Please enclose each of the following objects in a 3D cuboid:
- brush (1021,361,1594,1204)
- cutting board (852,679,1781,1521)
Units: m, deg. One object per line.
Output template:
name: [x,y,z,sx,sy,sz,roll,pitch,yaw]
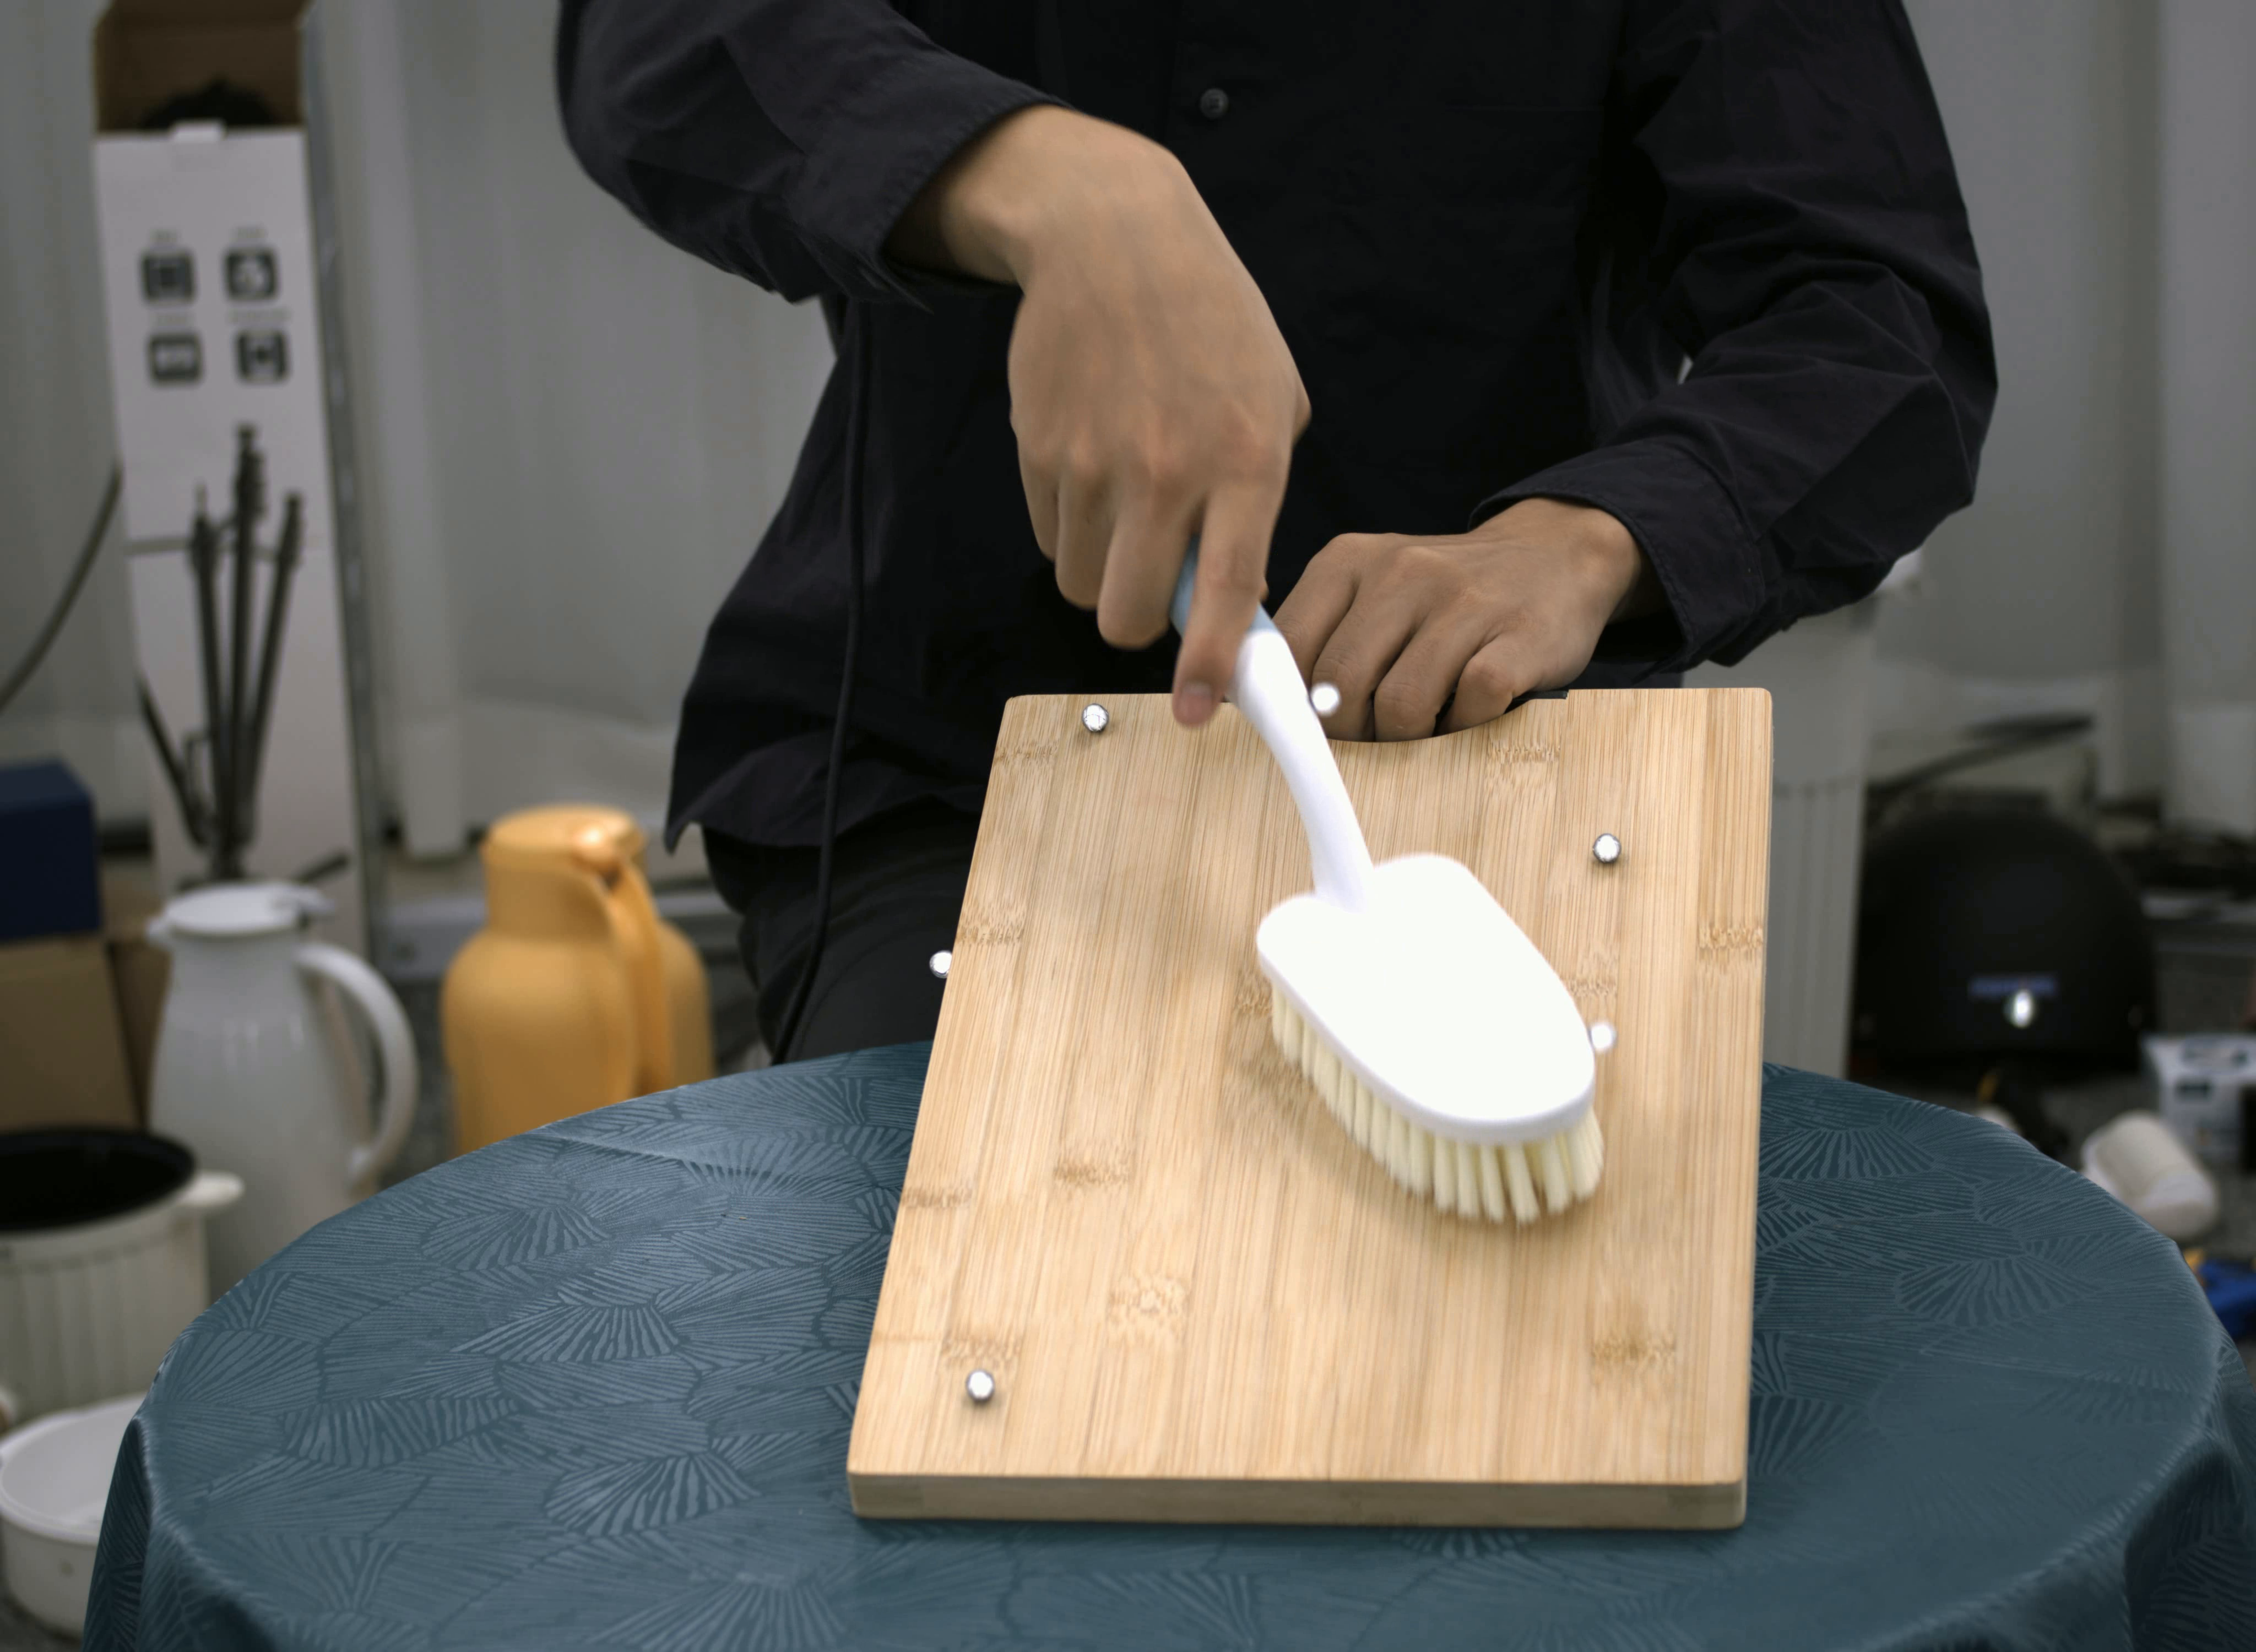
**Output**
brush: [0.049,-0.009,1.603,0.082,0.084,0.330,11,36,-42]
cutting board: [0.064,0.071,1.580,0.250,0.023,0.353,-1,38,7]
